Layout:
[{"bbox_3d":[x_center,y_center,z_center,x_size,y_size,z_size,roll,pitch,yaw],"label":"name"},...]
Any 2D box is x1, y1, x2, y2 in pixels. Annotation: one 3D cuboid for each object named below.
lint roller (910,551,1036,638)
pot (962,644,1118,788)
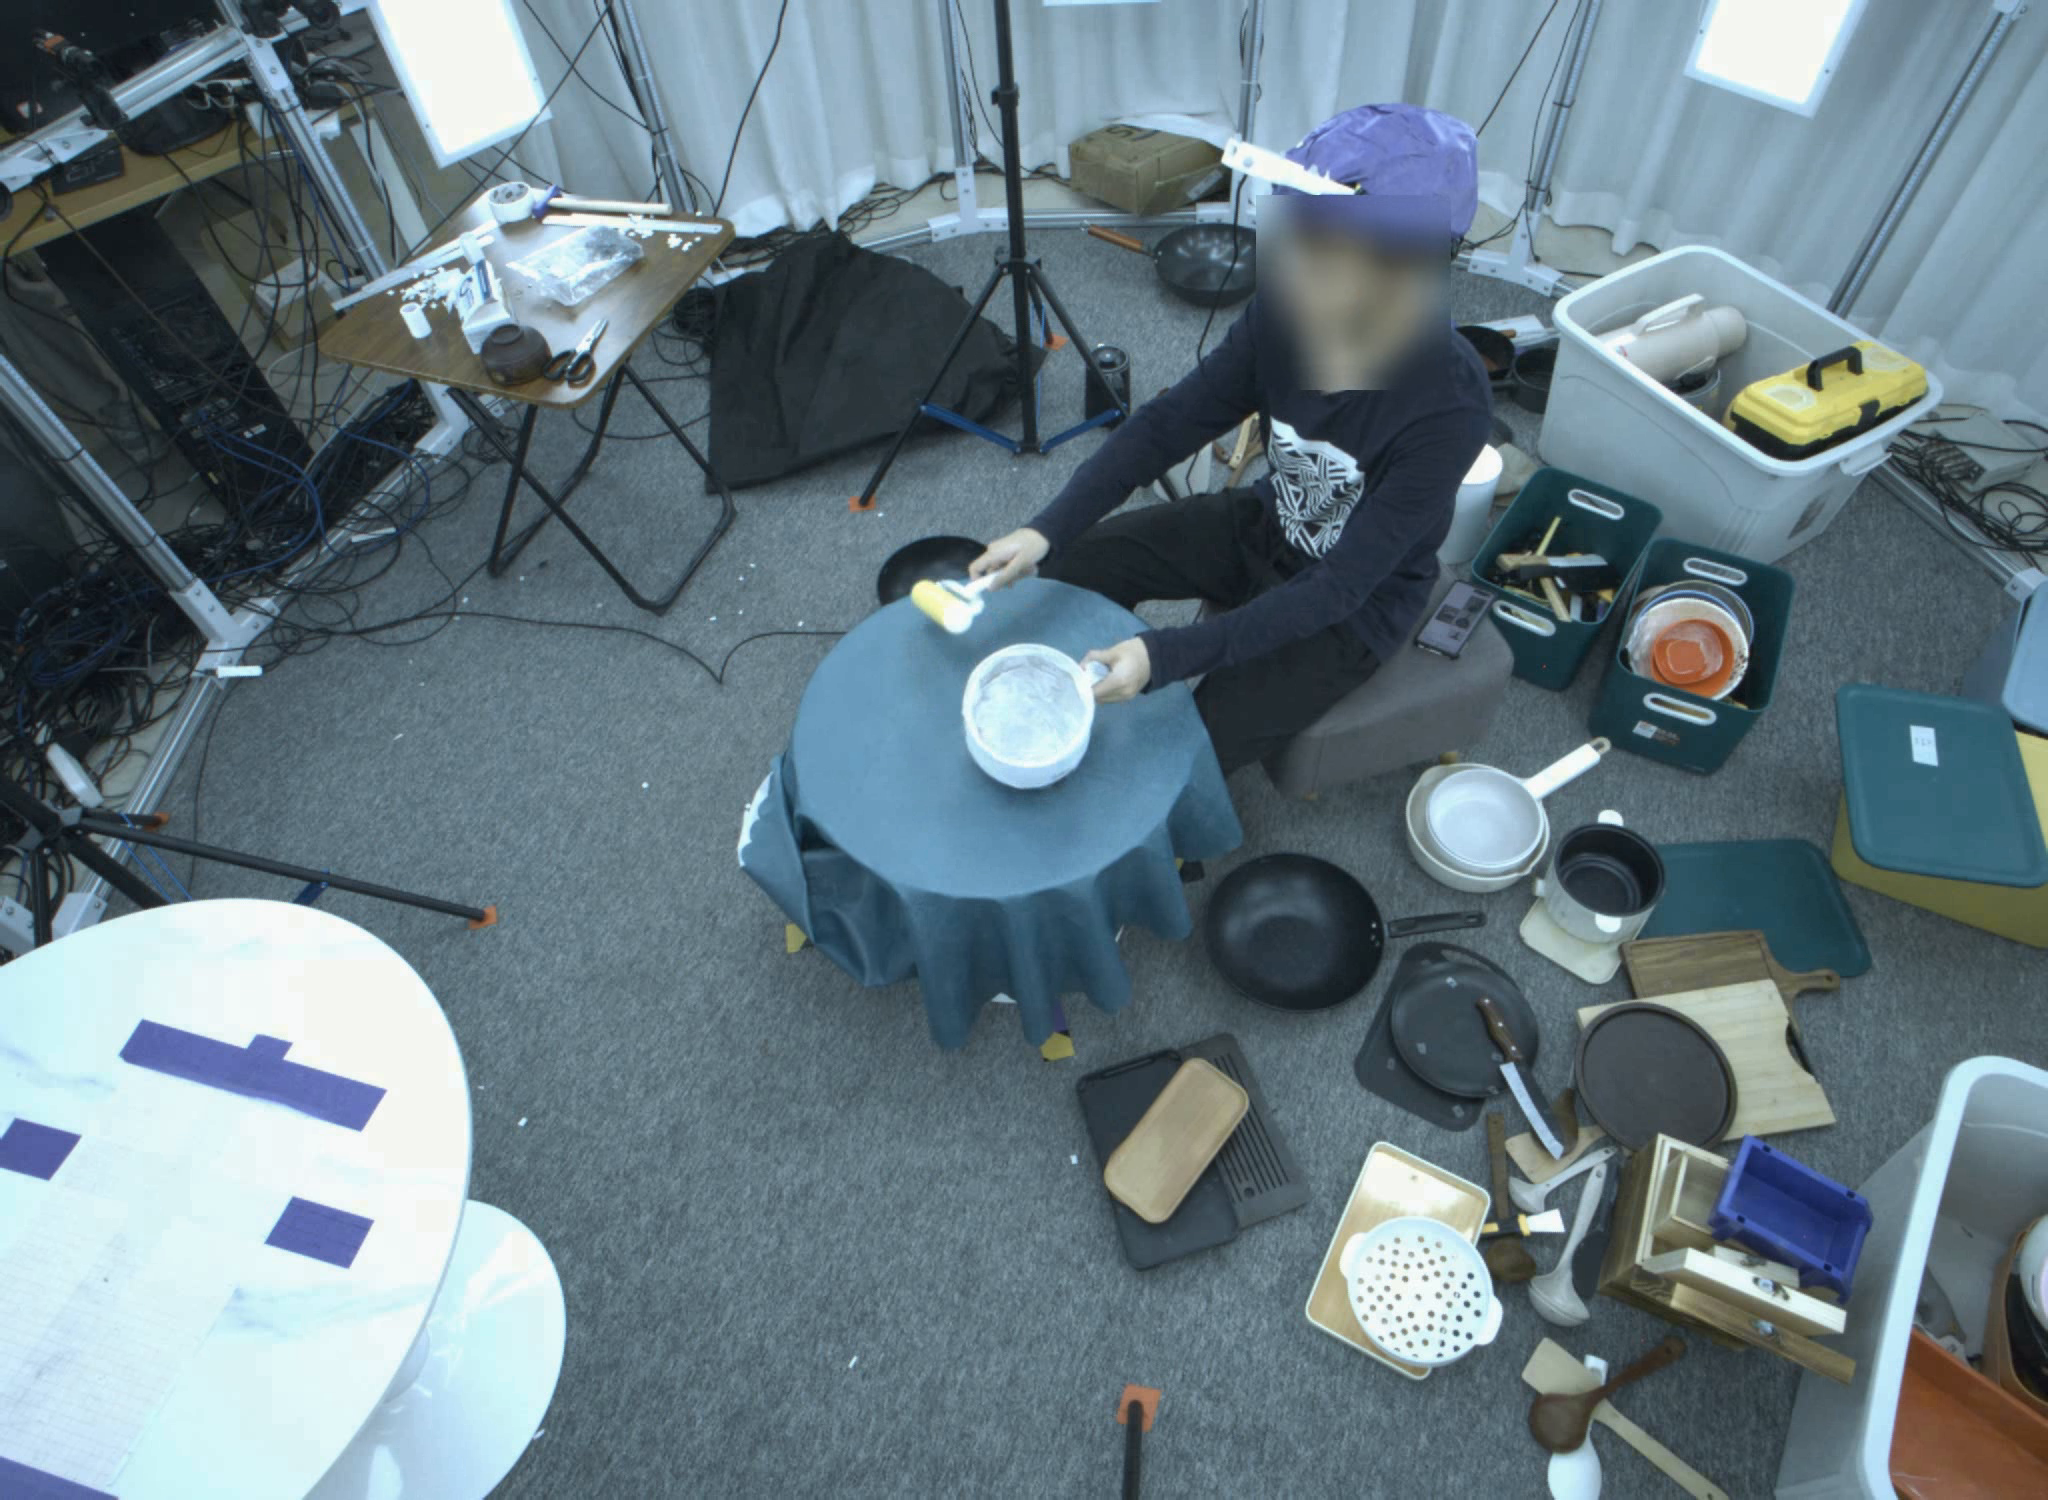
[{"bbox_3d":[-0.069,-0.255,1.858,0.192,0.052,0.170,-39,31,-8],"label":"lint roller"},{"bbox_3d":[0.029,-0.058,1.719,0.235,0.137,0.177,-32,78,-10],"label":"pot"}]
